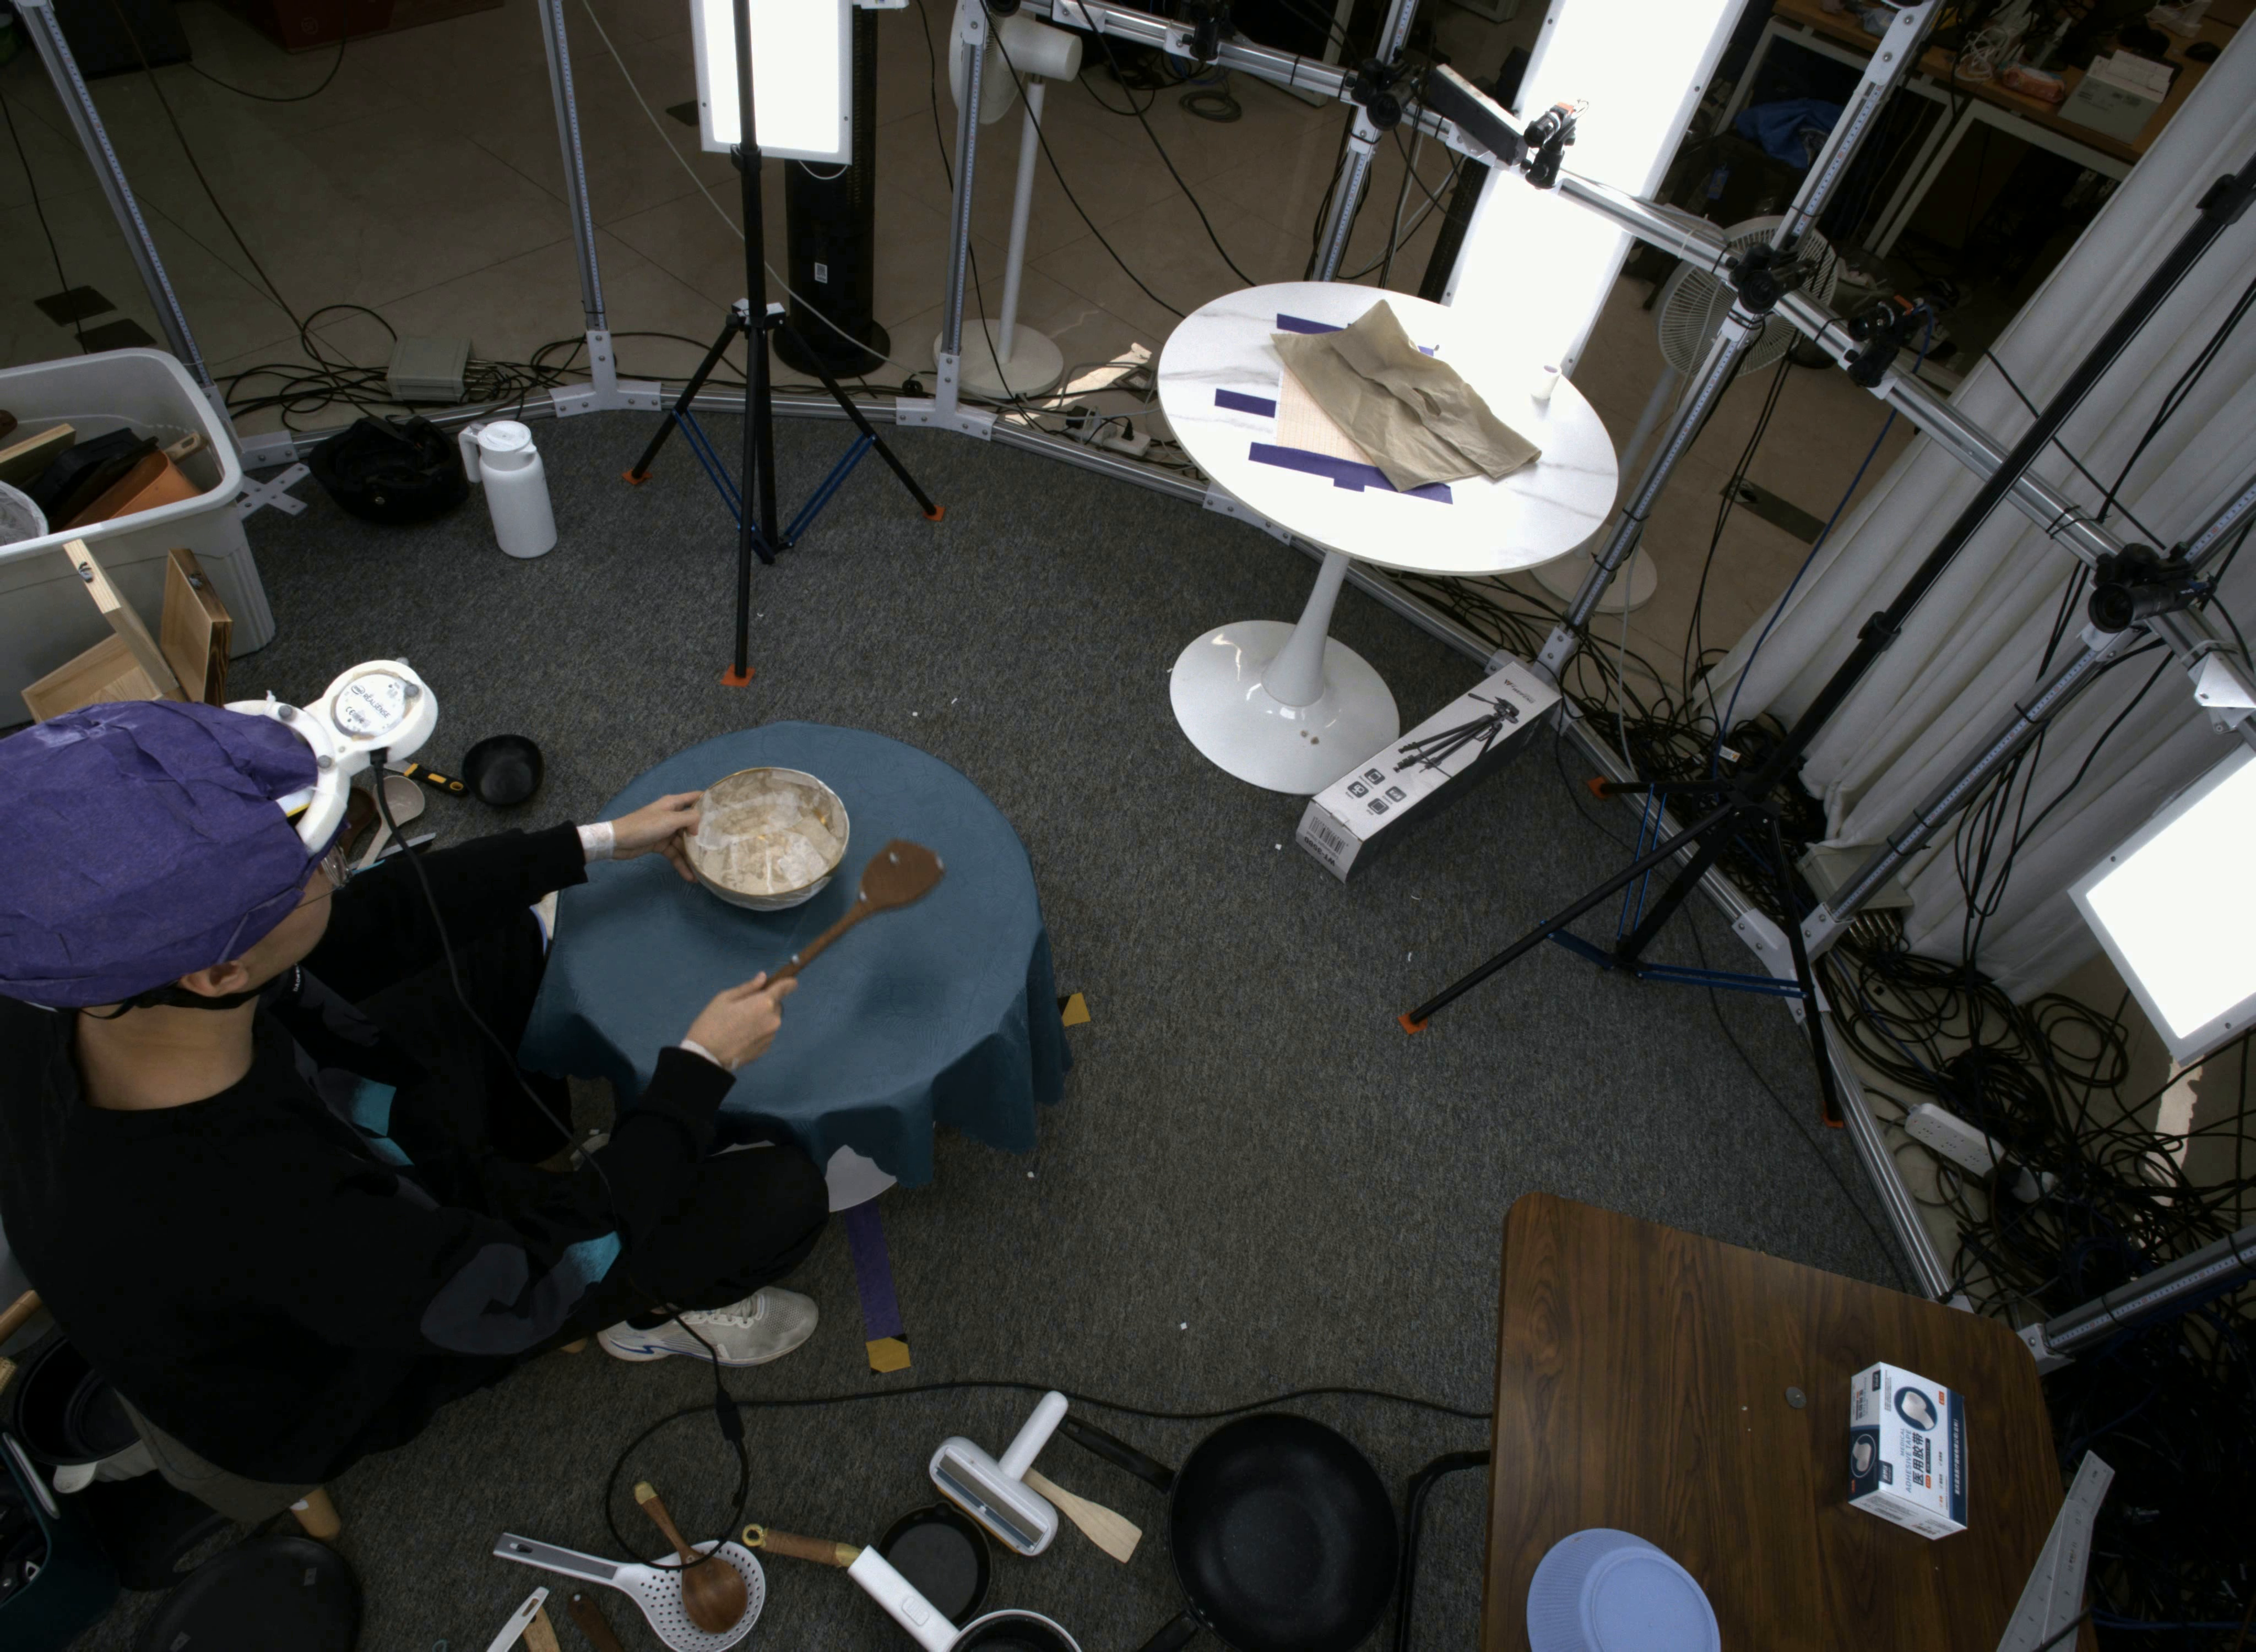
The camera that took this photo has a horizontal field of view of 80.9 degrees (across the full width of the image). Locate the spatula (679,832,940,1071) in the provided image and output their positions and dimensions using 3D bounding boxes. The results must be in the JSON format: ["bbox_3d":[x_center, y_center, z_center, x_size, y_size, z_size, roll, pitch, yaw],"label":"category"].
[{"bbox_3d":[-0.360,0.134,1.461,0.093,0.016,0.385,25,52,28],"label":"spatula"}]

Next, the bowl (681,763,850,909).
[{"bbox_3d":[-0.458,0.027,1.638,0.214,0.096,0.211,7,53,-8],"label":"bowl"}]
